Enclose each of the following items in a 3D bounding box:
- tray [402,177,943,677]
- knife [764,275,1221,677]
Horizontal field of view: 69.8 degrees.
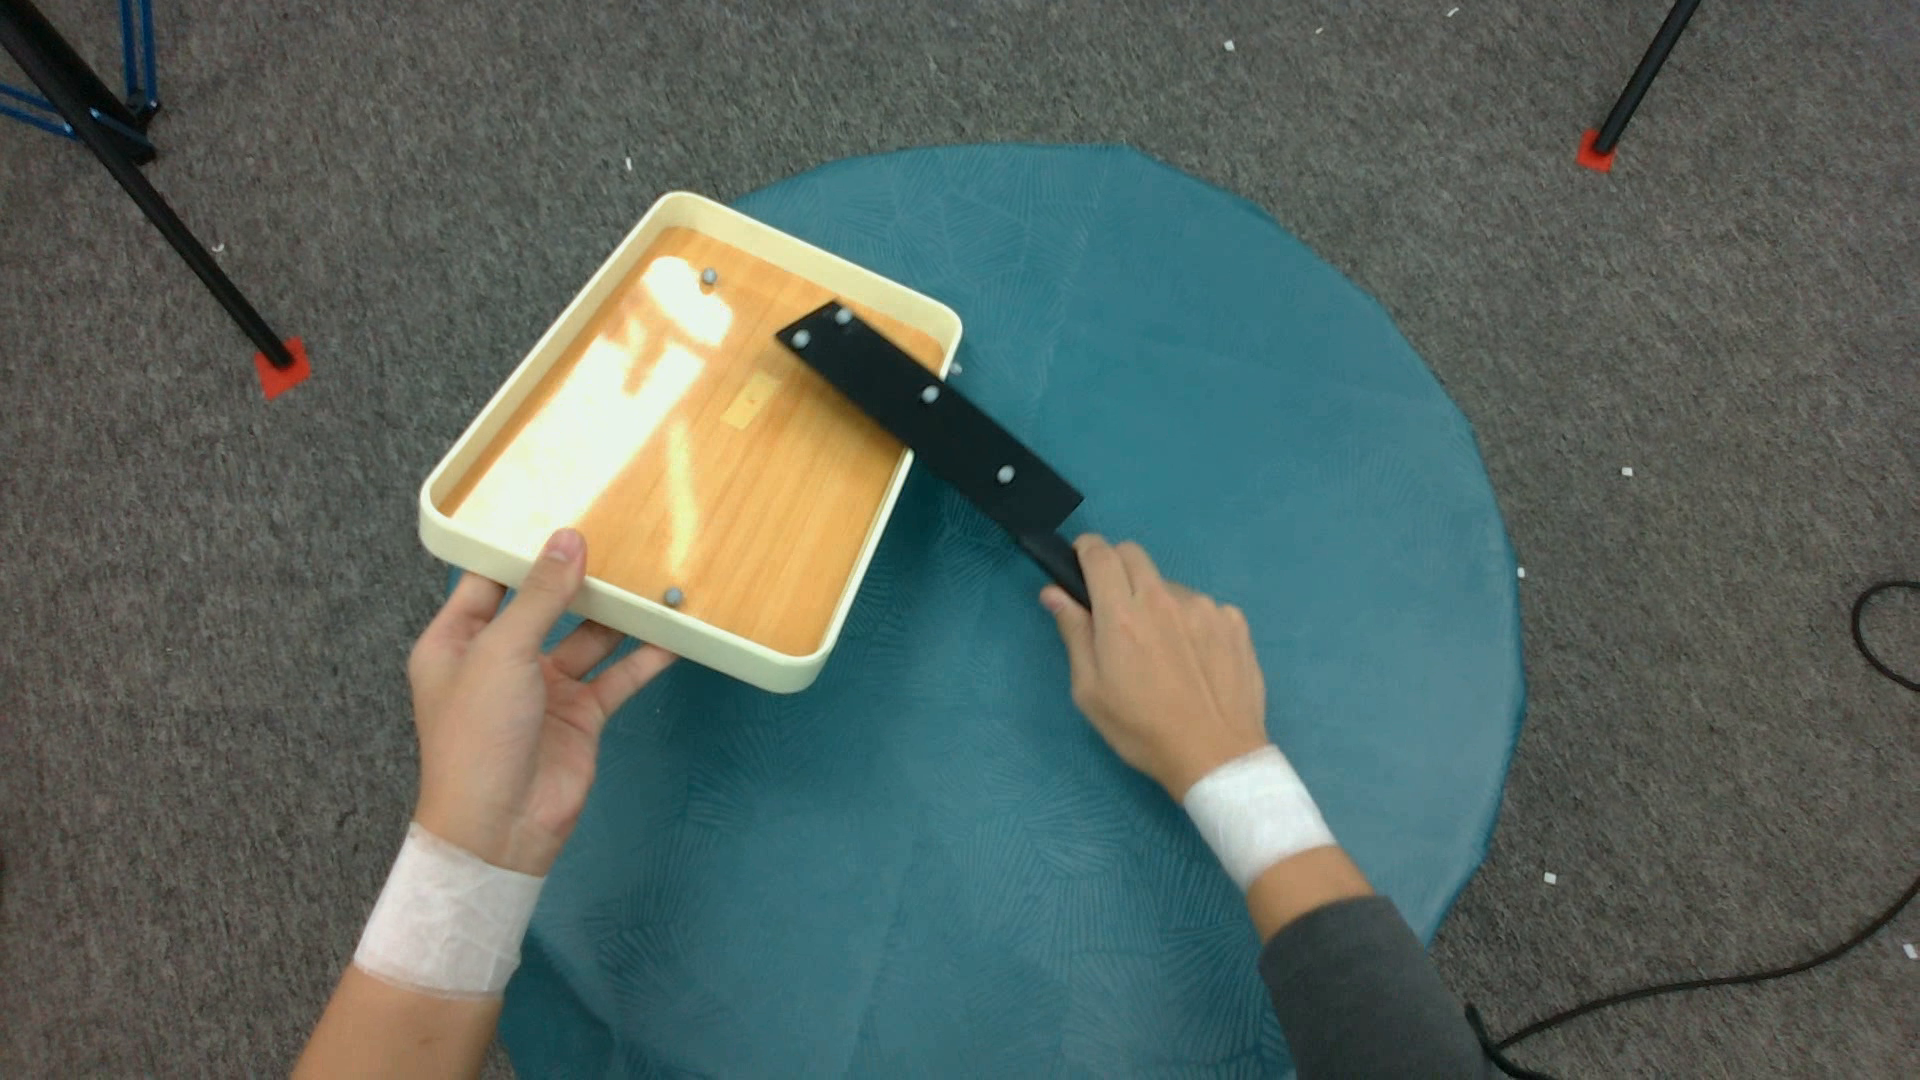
[{"bbox_3d":[-0.129,-0.074,0.707,0.191,0.027,0.302,23,43,-5],"label":"tray"},{"bbox_3d":[0.020,-0.037,0.734,0.302,0.021,0.081,44,43,9],"label":"knife"}]
